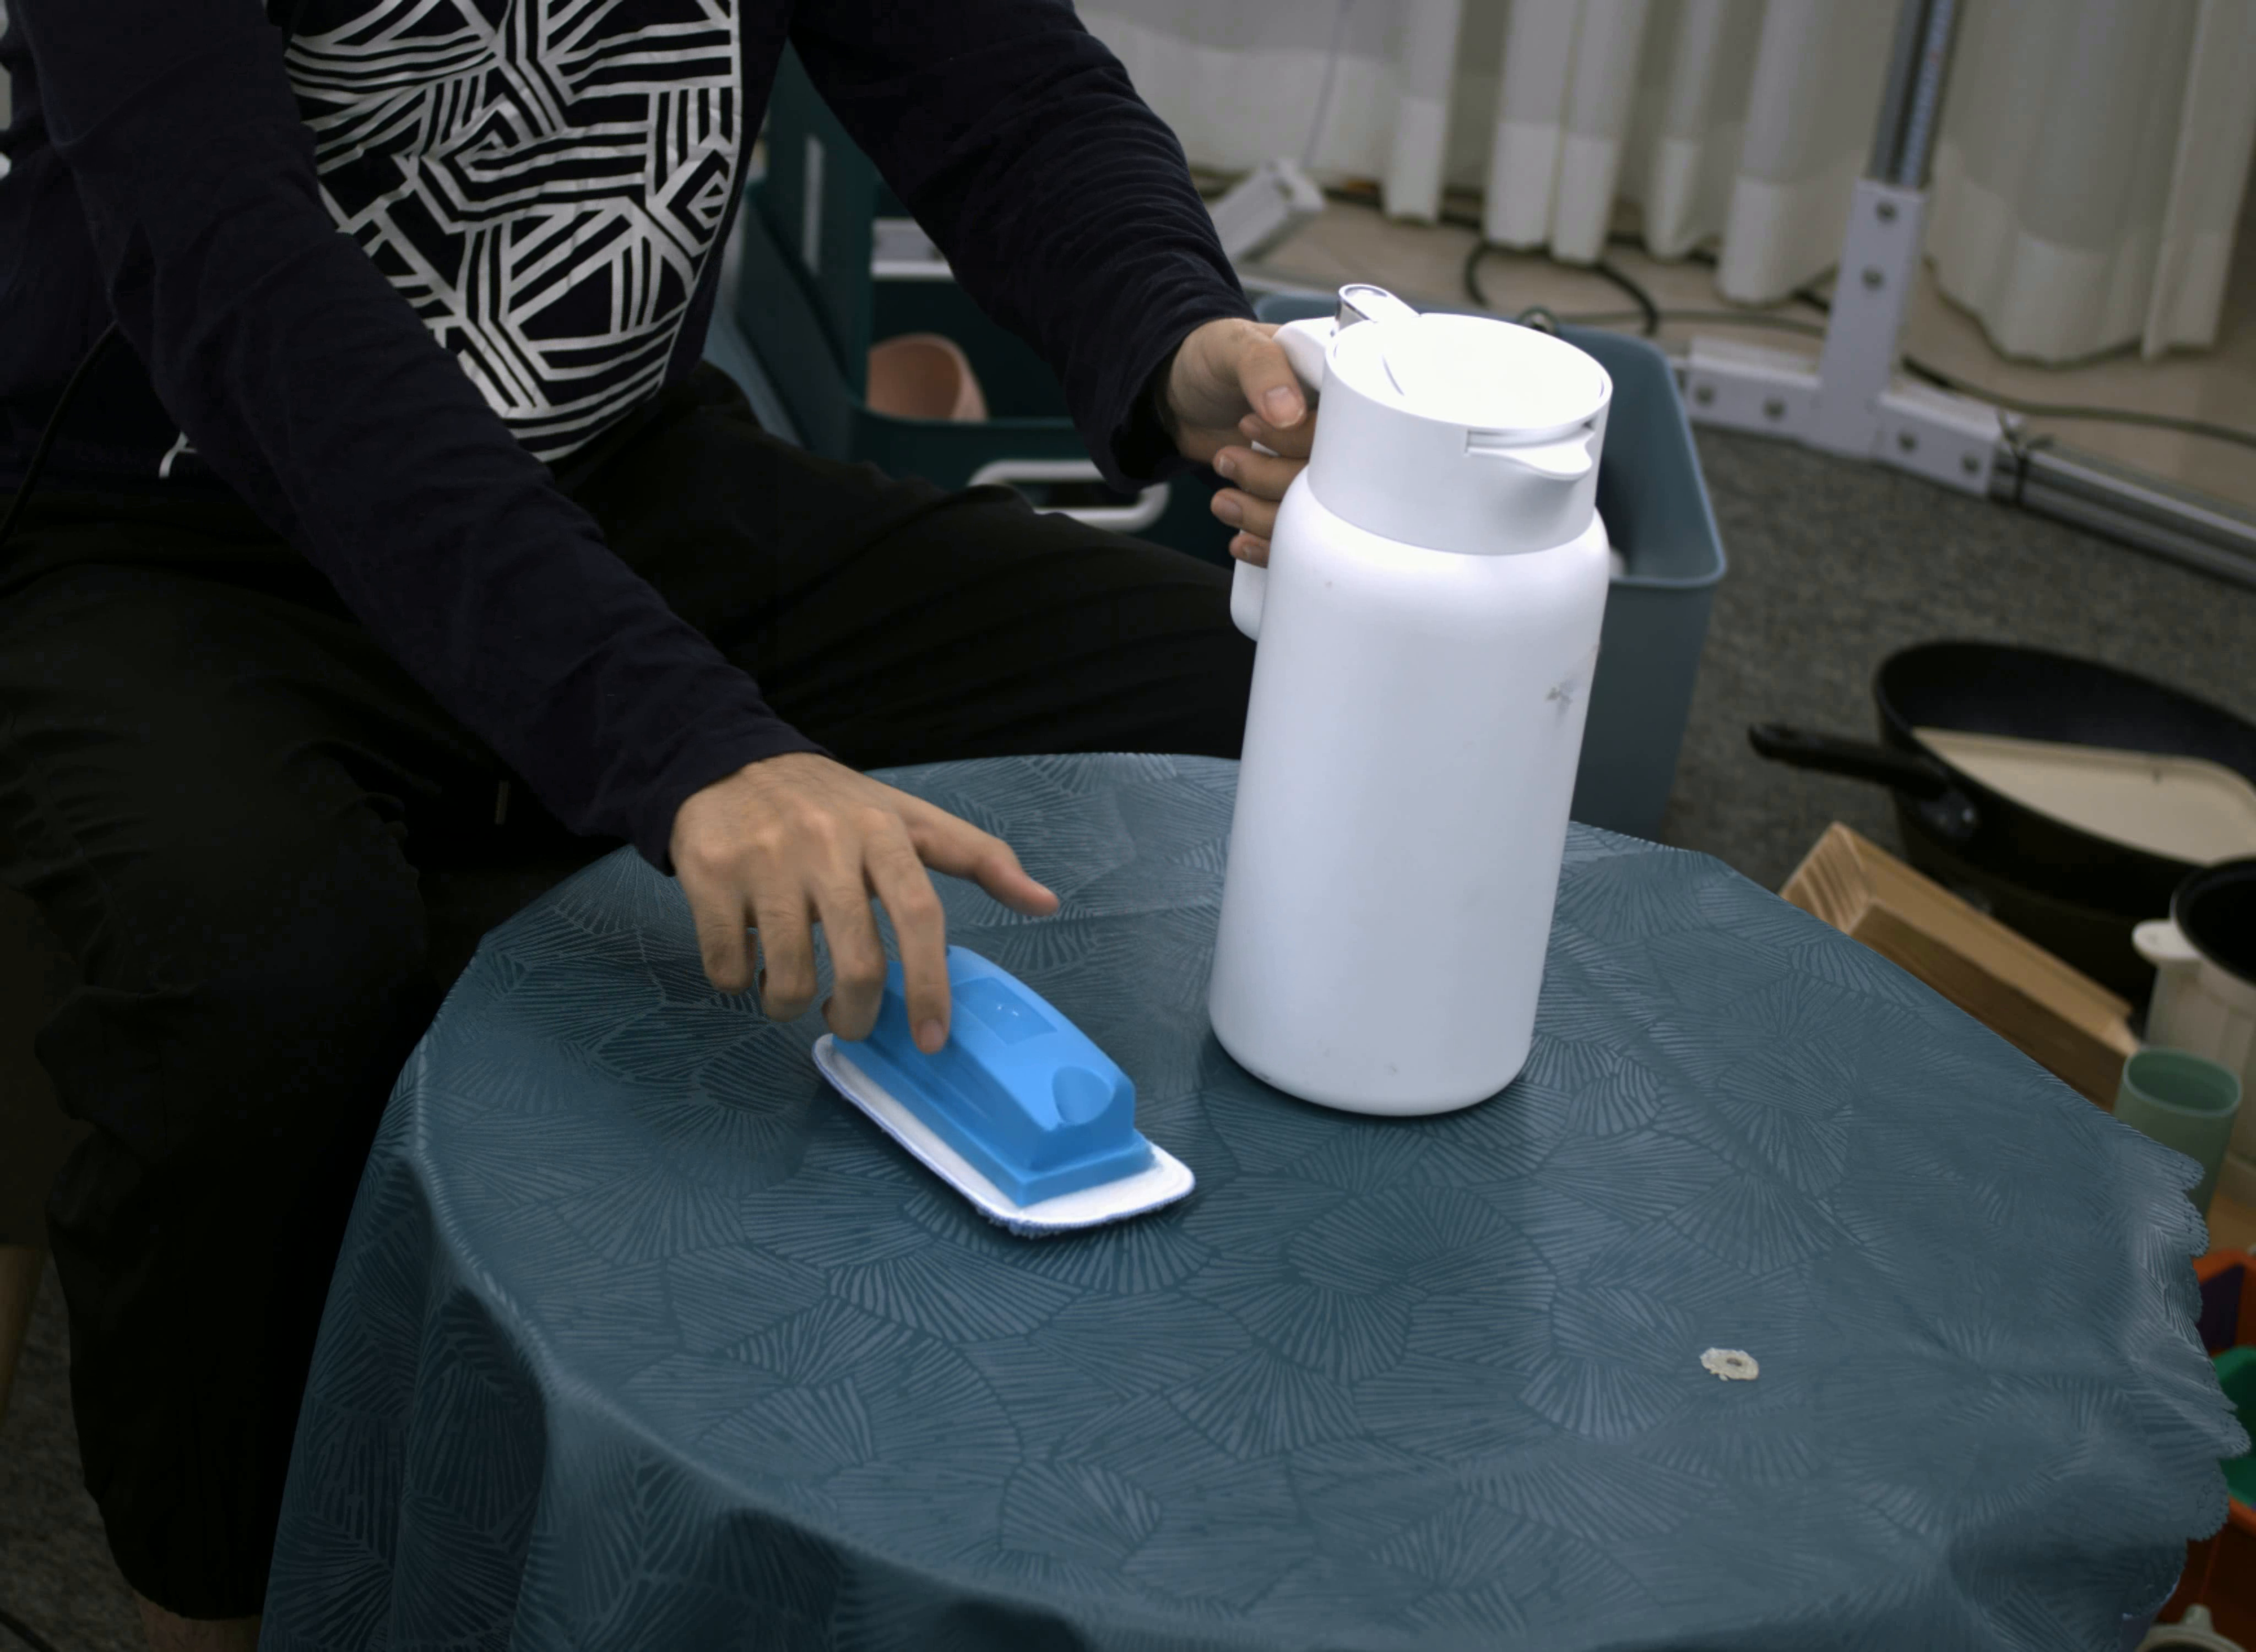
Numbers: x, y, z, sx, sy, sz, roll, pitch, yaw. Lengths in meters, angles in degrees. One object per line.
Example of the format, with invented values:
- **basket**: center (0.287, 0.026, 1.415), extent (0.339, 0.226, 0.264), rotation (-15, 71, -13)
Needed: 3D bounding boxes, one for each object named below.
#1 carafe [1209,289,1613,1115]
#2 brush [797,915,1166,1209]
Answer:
- **carafe**: center (0.091, -0.046, 1.867), extent (0.123, 0.268, 0.174), rotation (-11, 31, -29)
- **brush**: center (-0.047, 0.076, 1.819), extent (0.083, 0.056, 0.145), rotation (-8, 35, -33)
